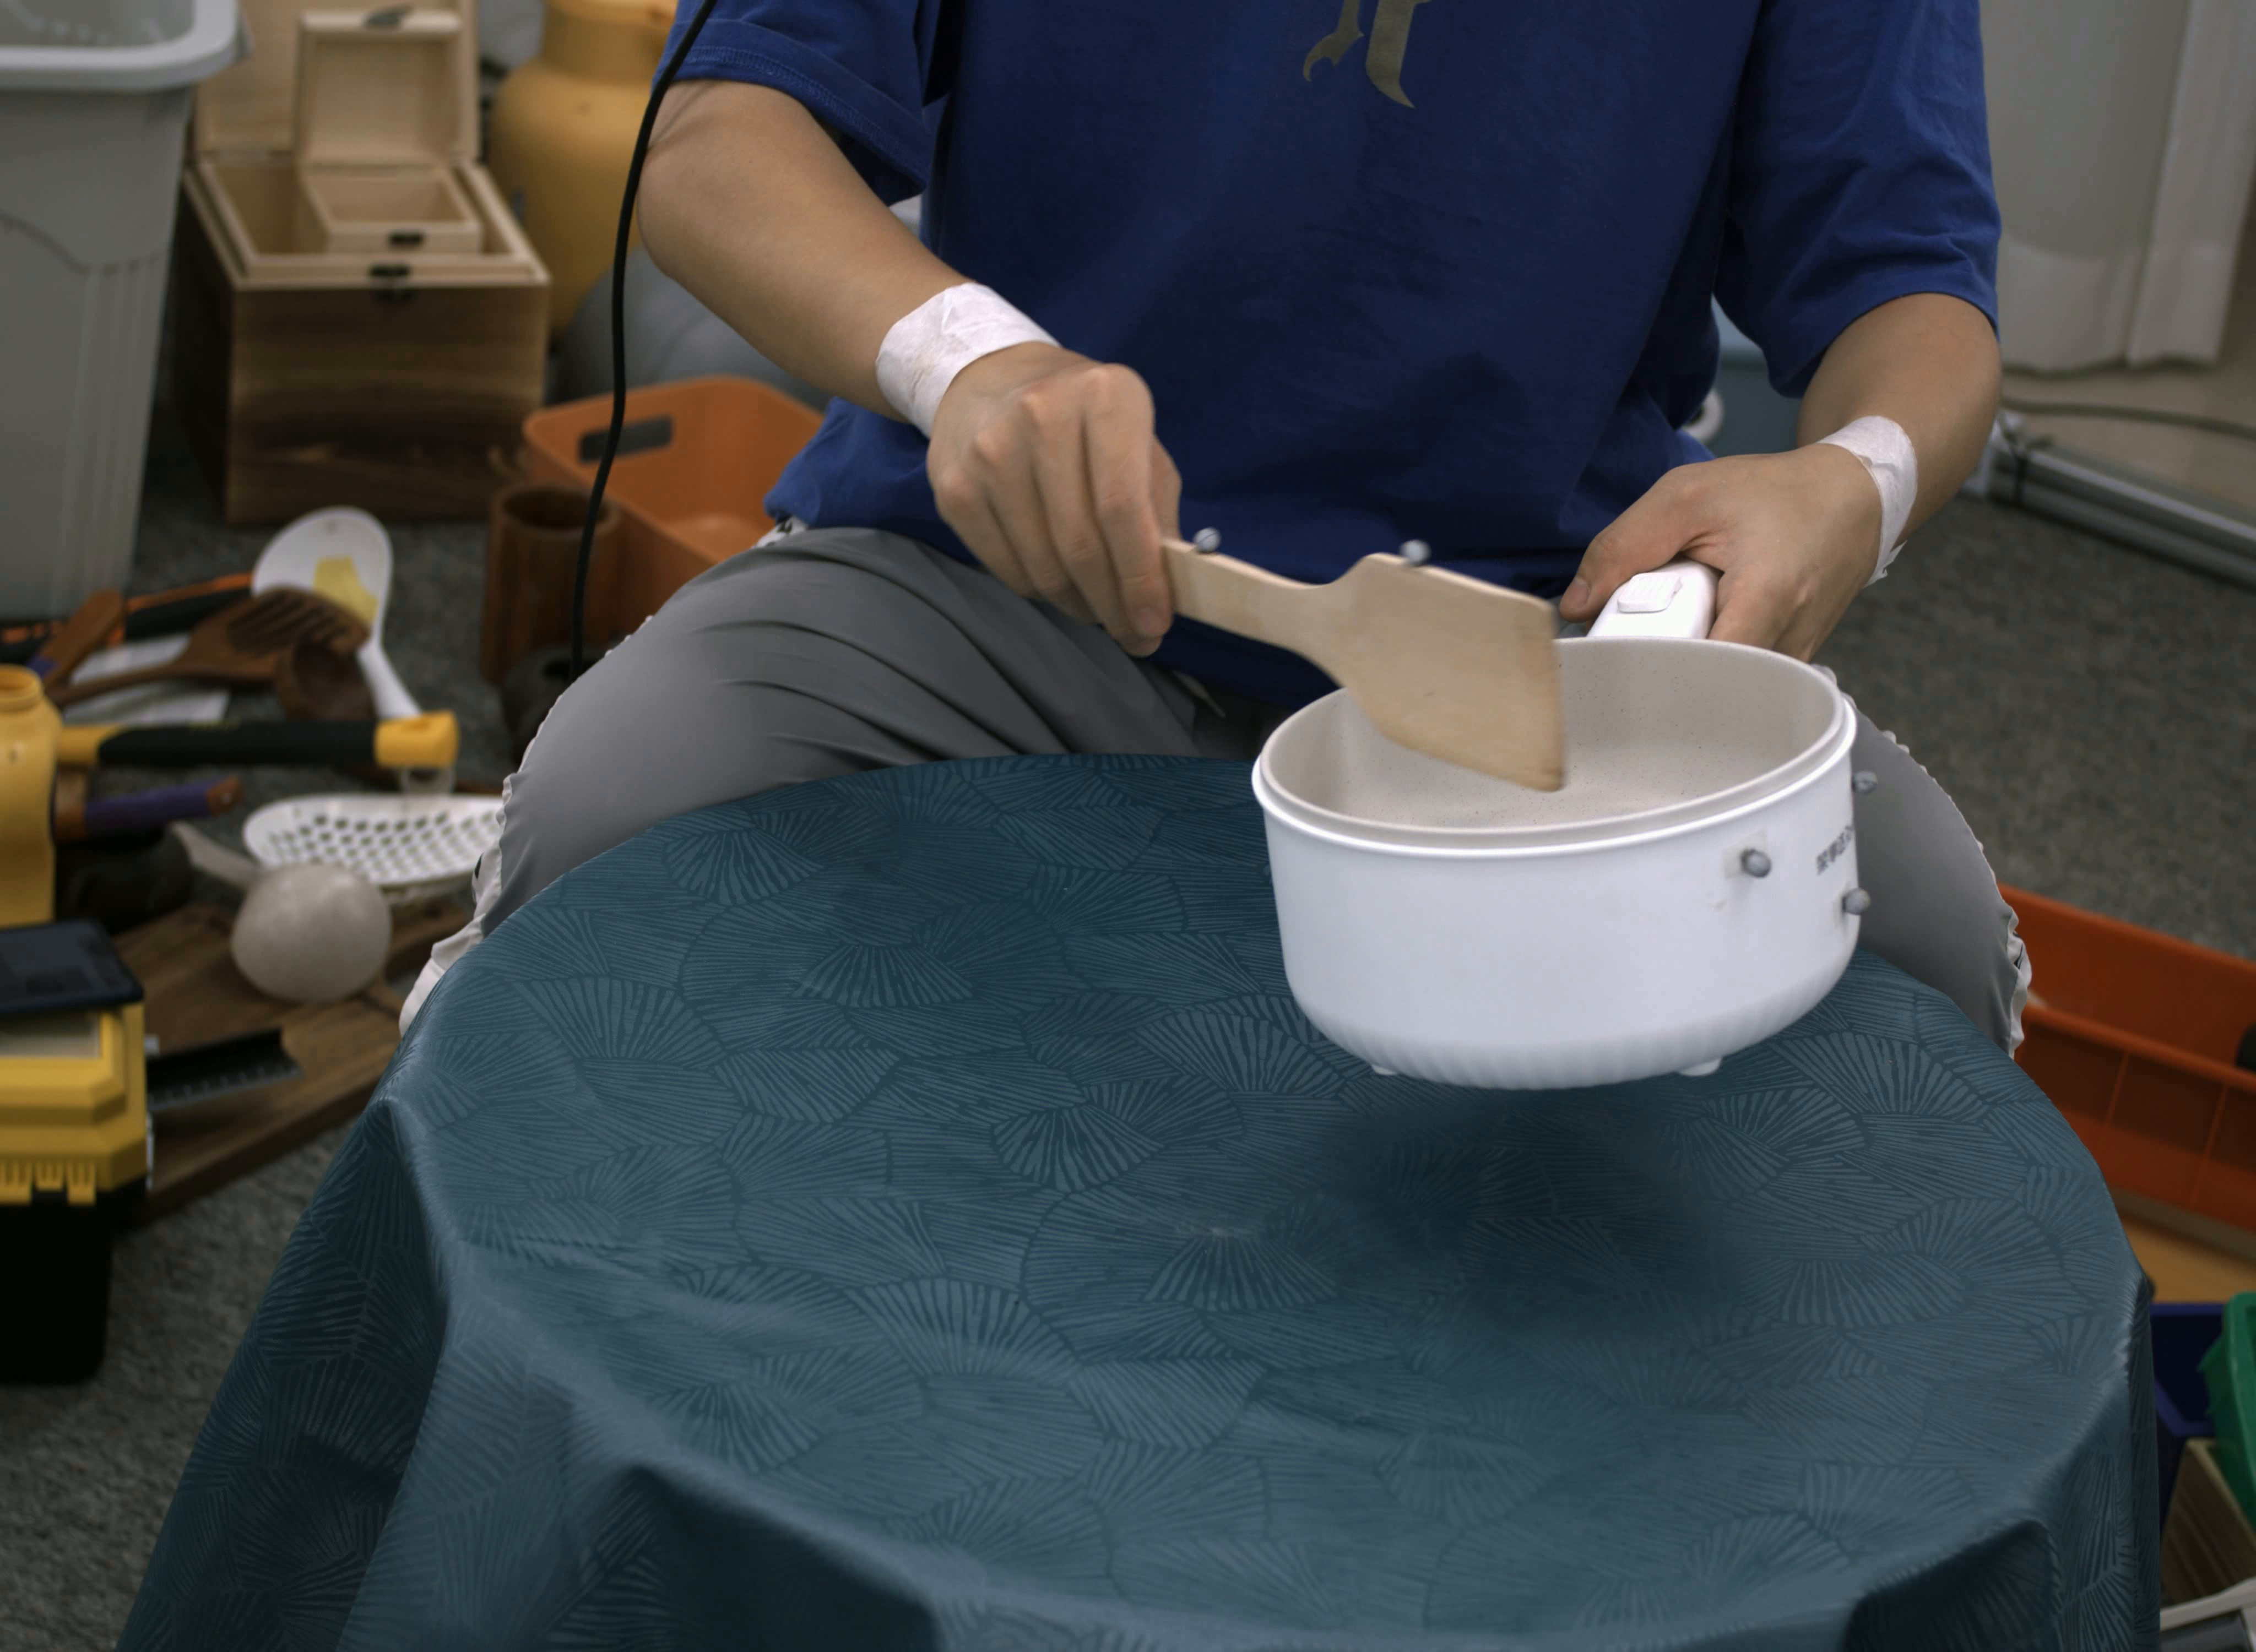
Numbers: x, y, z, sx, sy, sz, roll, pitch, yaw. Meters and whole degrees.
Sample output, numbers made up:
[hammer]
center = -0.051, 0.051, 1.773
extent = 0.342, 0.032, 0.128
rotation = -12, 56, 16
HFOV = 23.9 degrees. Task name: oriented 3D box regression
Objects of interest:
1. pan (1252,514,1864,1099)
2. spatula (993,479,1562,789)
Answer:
[pan]
center = 0.169, -0.010, 1.850
extent = 0.201, 0.102, 0.355
rotation = -3, 19, 19
[spatula]
center = 0.045, -0.080, 1.858
extent = 0.010, 0.072, 0.295
rotation = -24, 30, -33
